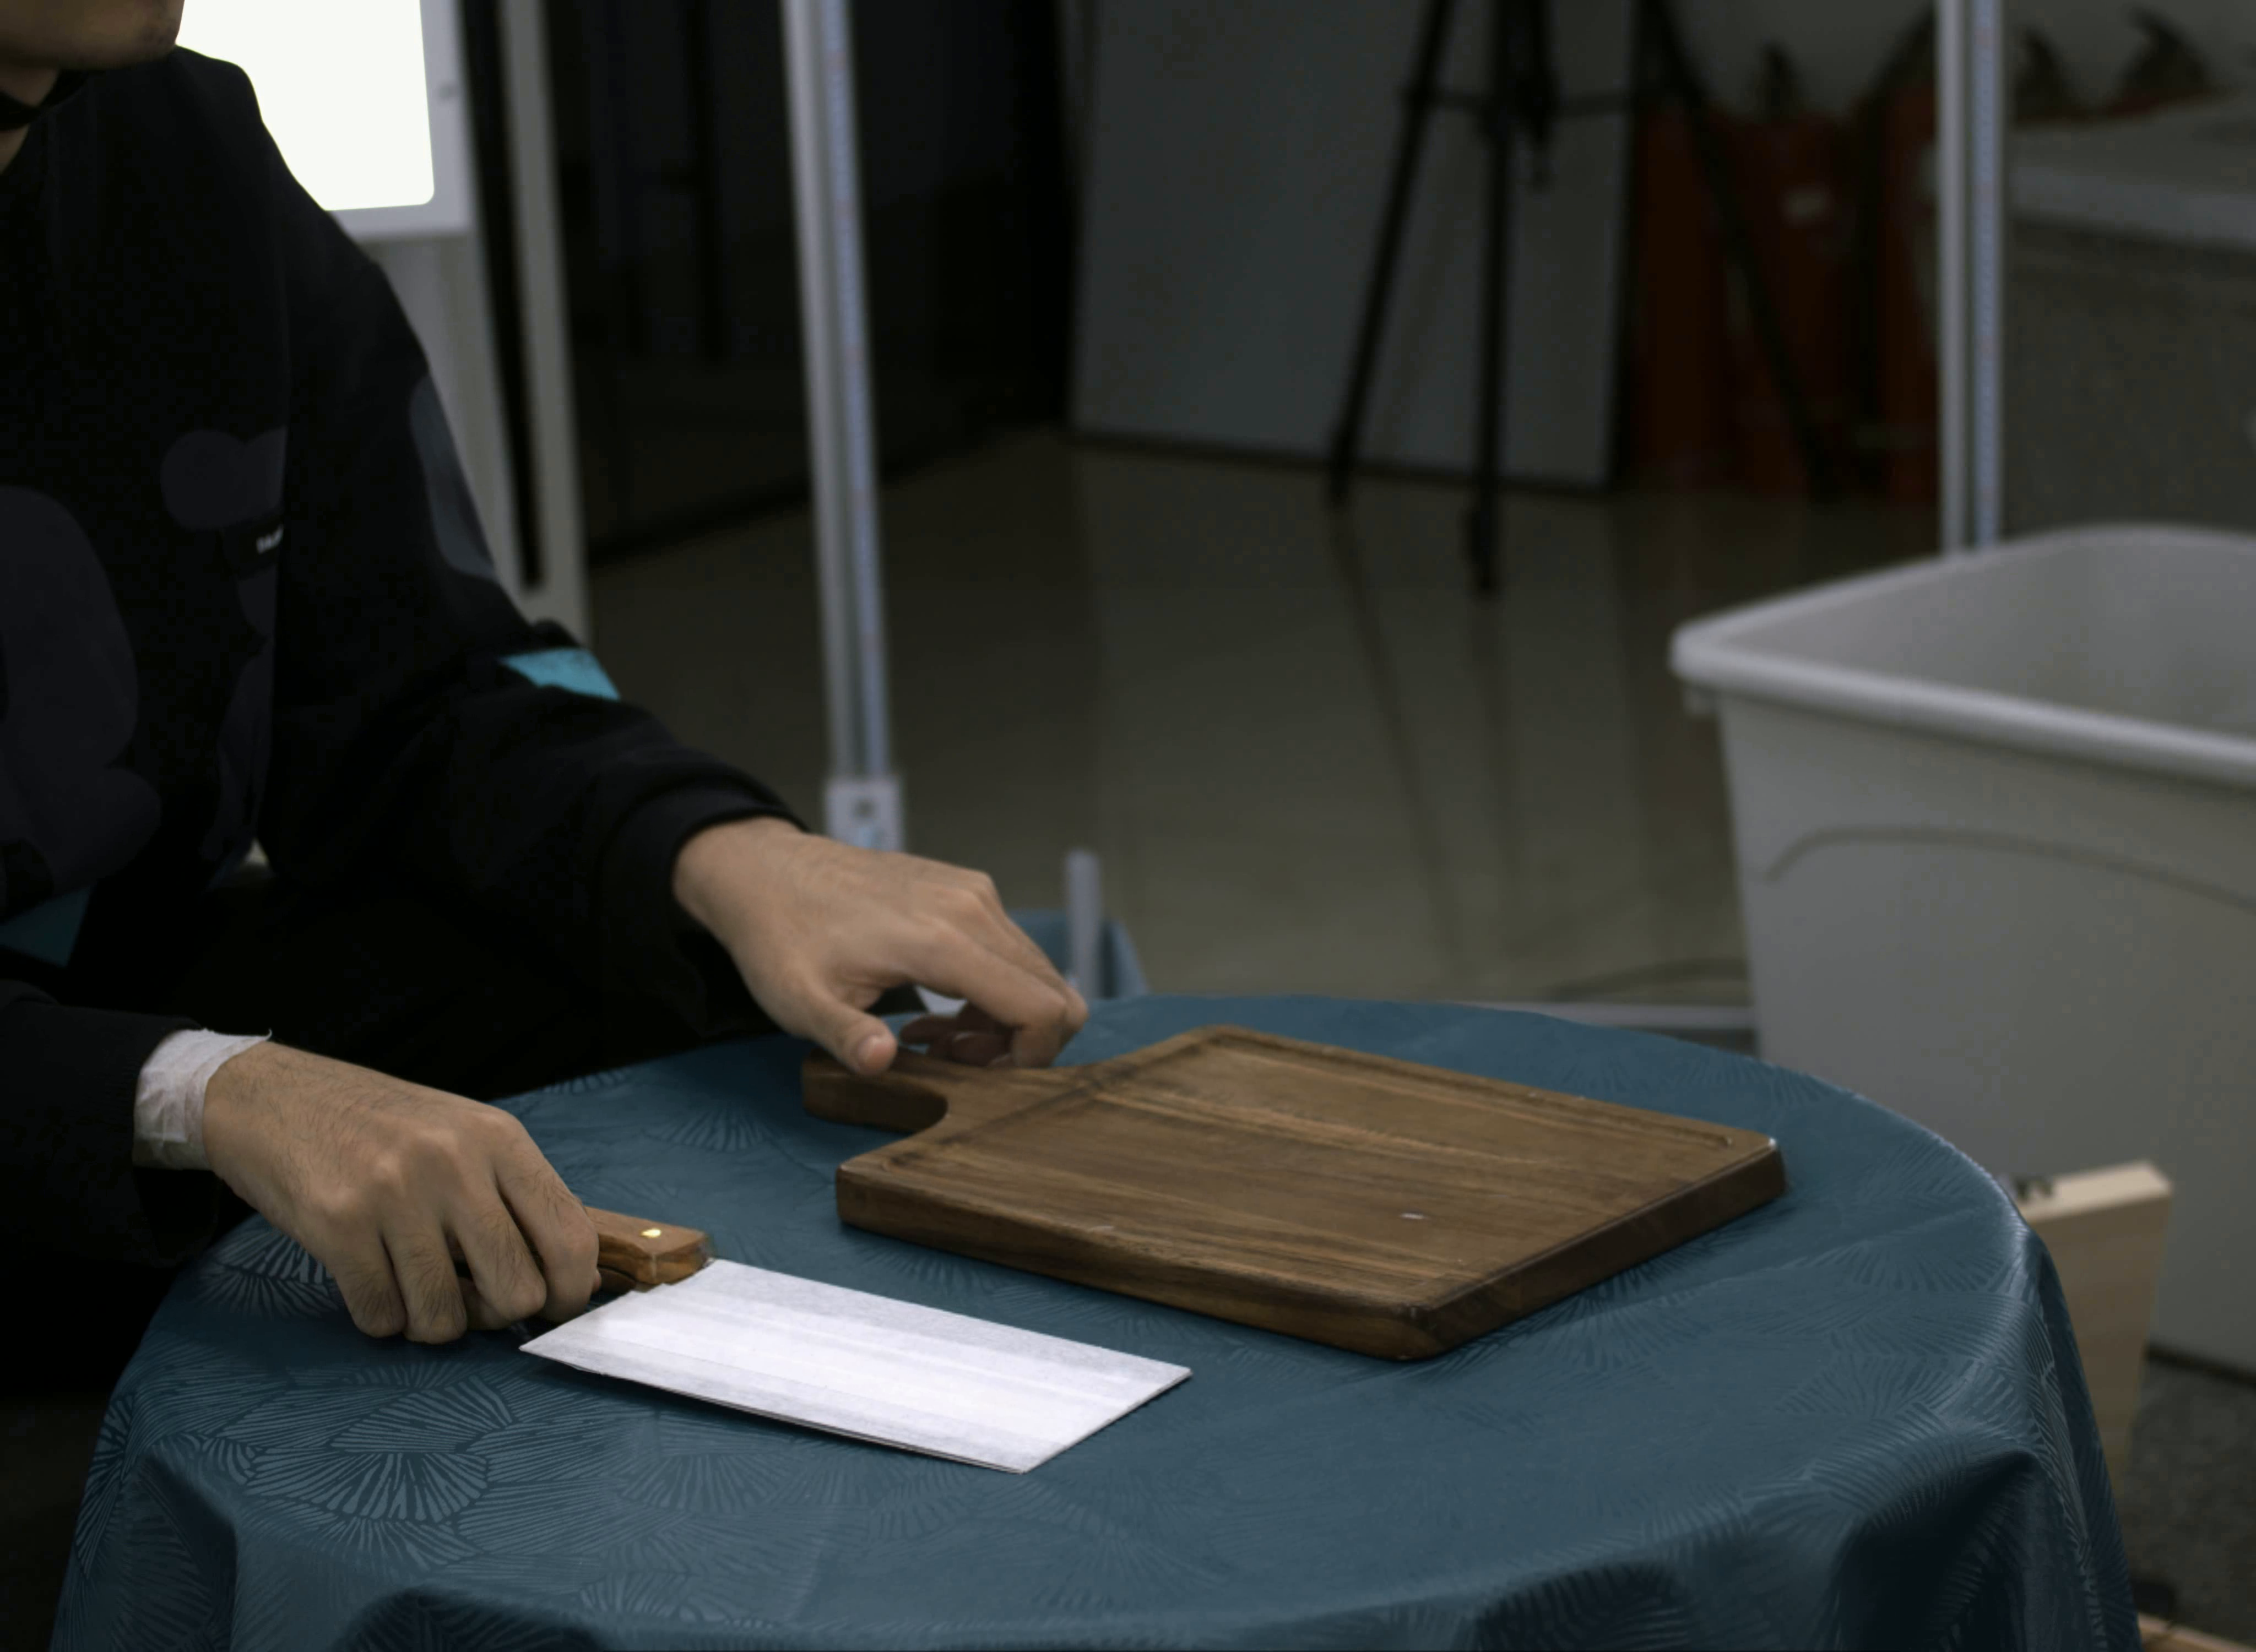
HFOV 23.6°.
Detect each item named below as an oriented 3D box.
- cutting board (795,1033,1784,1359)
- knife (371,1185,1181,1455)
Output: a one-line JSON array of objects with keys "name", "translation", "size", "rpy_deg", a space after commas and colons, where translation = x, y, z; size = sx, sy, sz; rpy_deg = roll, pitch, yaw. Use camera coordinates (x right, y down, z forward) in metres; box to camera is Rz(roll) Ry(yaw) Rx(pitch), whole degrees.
[{"name": "cutting board", "translation": [0.022, 0.109, 1.770], "size": [0.355, 0.023, 0.197], "rpy_deg": [8, 18, 42]}, {"name": "knife", "translation": [-0.127, 0.153, 1.648], "size": [0.307, 0.021, 0.091], "rpy_deg": [9, 20, 35]}]
